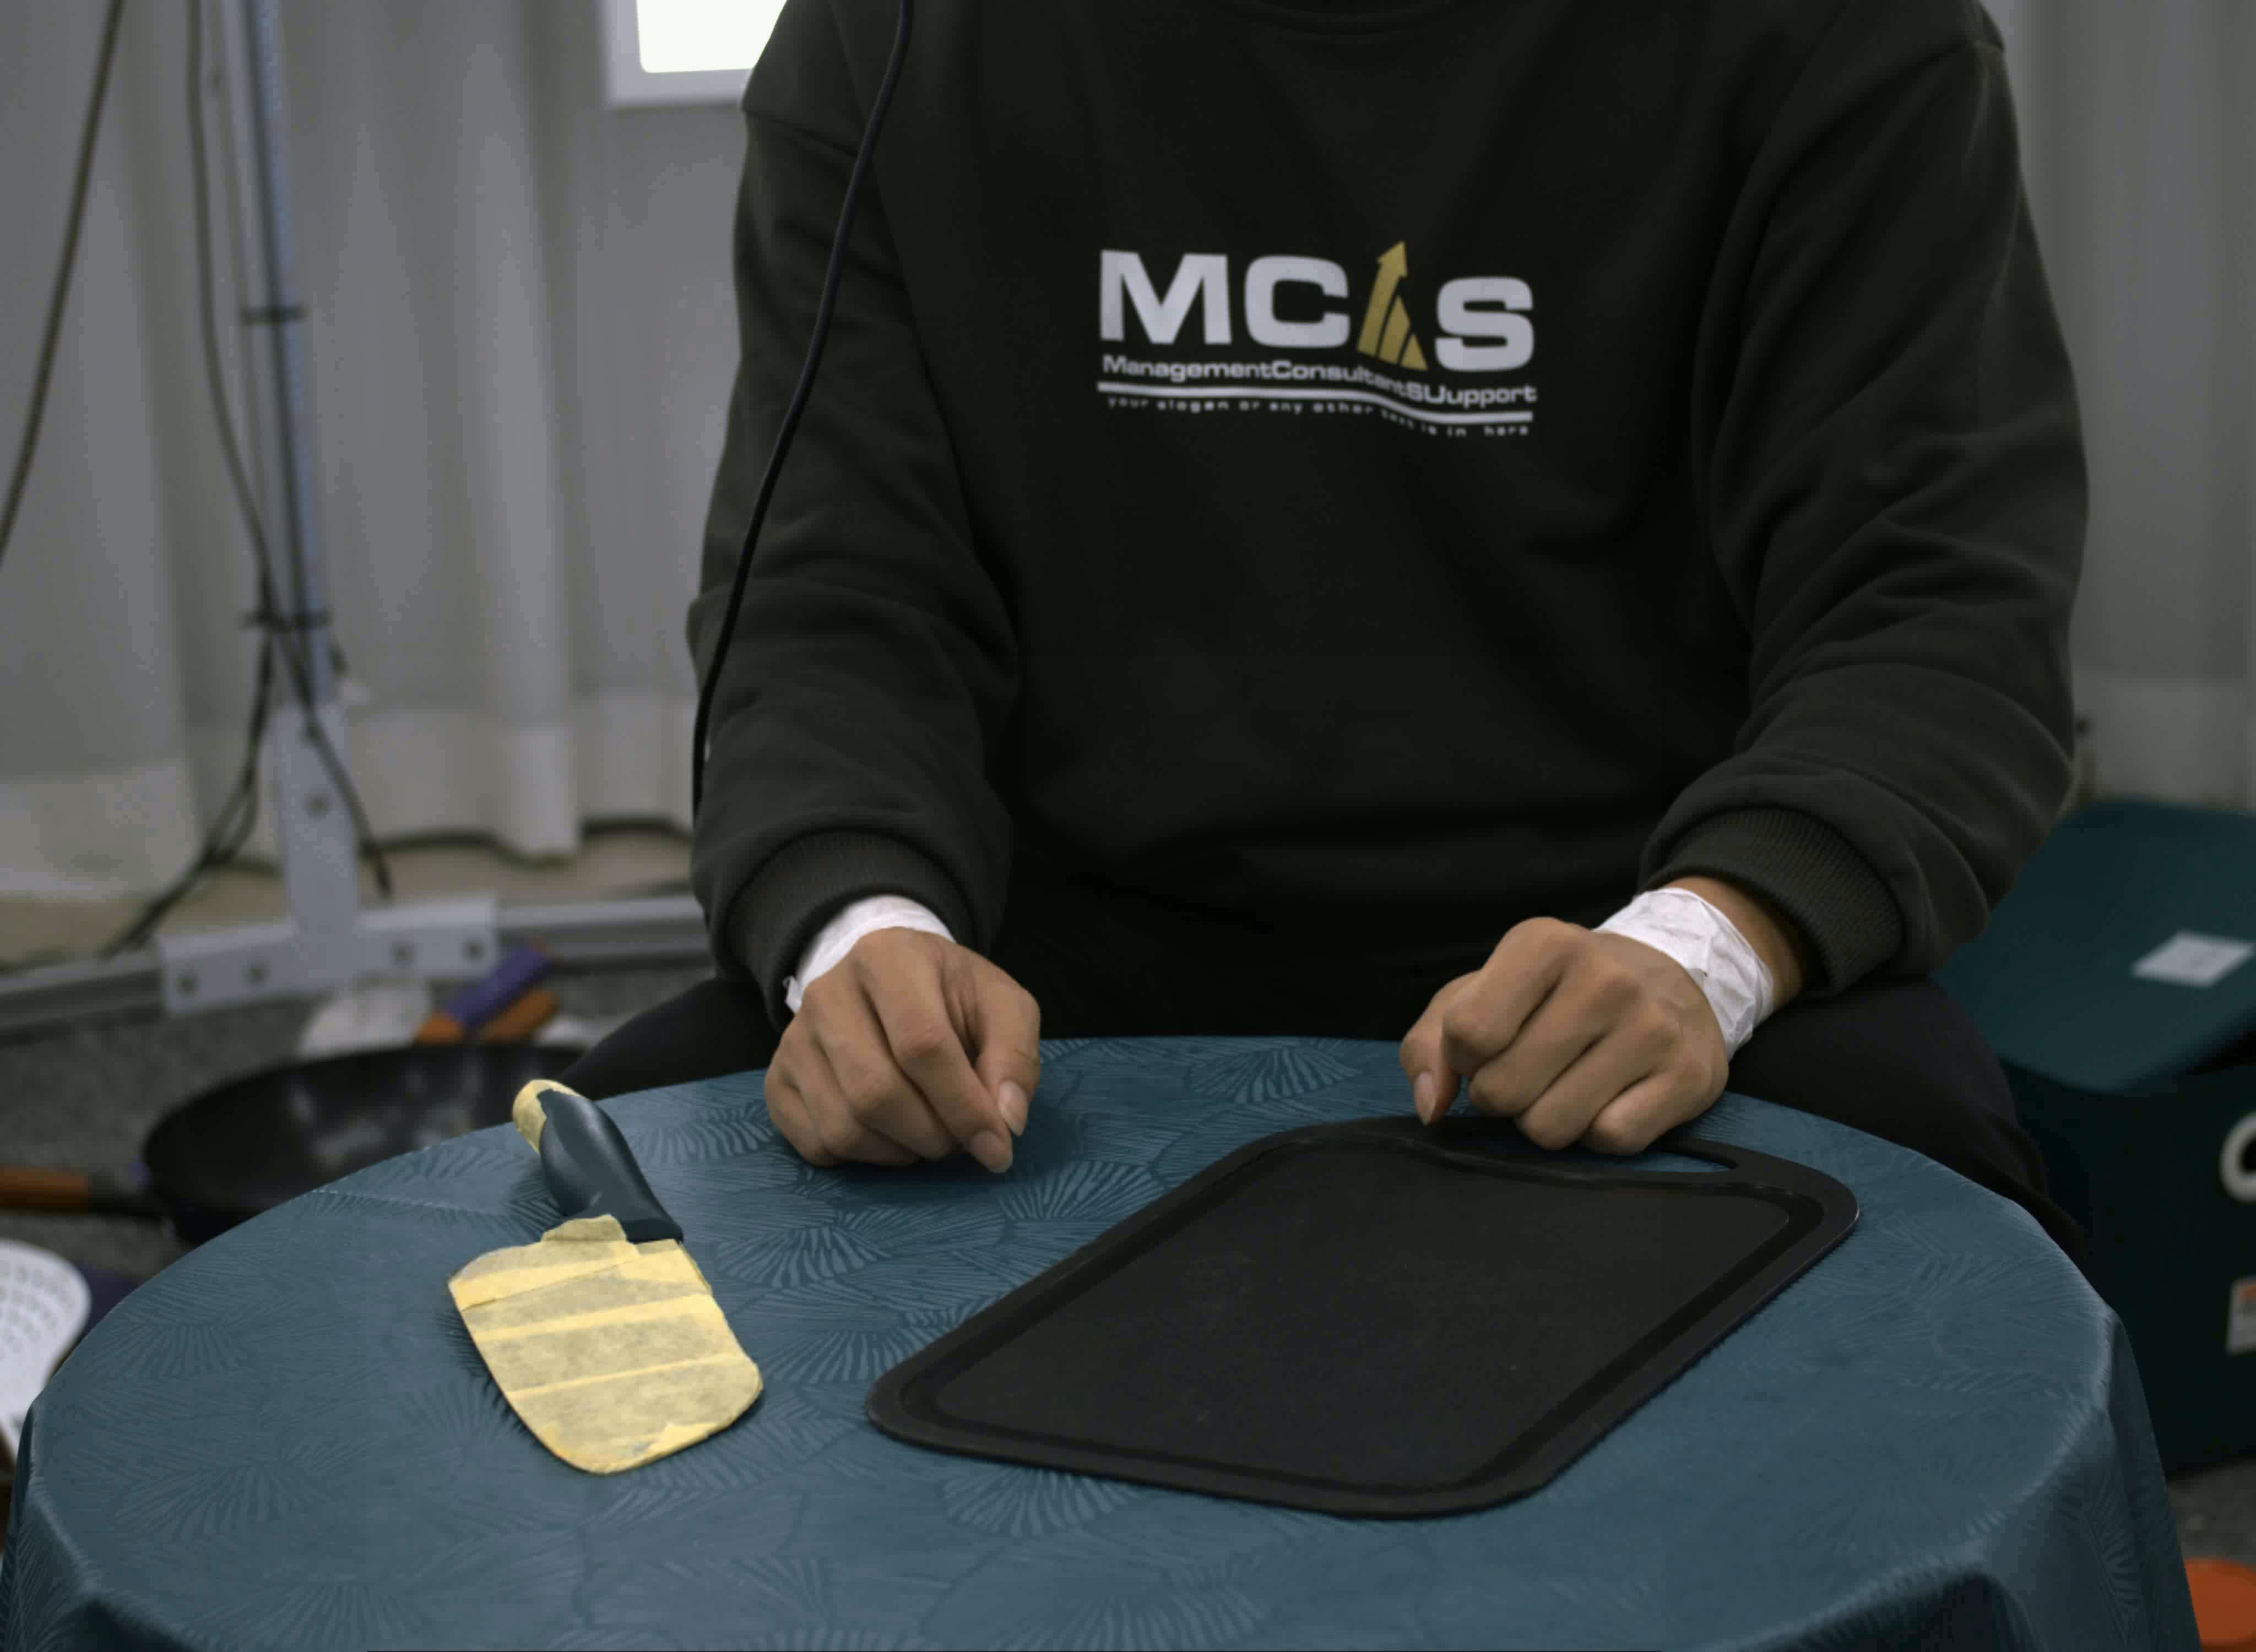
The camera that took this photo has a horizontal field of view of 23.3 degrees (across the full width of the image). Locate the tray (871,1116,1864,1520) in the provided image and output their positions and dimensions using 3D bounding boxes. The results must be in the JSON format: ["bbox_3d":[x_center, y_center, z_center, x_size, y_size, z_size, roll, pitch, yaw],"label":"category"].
[{"bbox_3d":[0.079,0.135,1.611,0.211,0.010,0.326,6,17,29],"label":"tray"}]

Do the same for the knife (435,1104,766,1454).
[{"bbox_3d":[-0.166,0.136,1.641,0.080,0.027,0.292,-5,16,-13],"label":"knife"}]
